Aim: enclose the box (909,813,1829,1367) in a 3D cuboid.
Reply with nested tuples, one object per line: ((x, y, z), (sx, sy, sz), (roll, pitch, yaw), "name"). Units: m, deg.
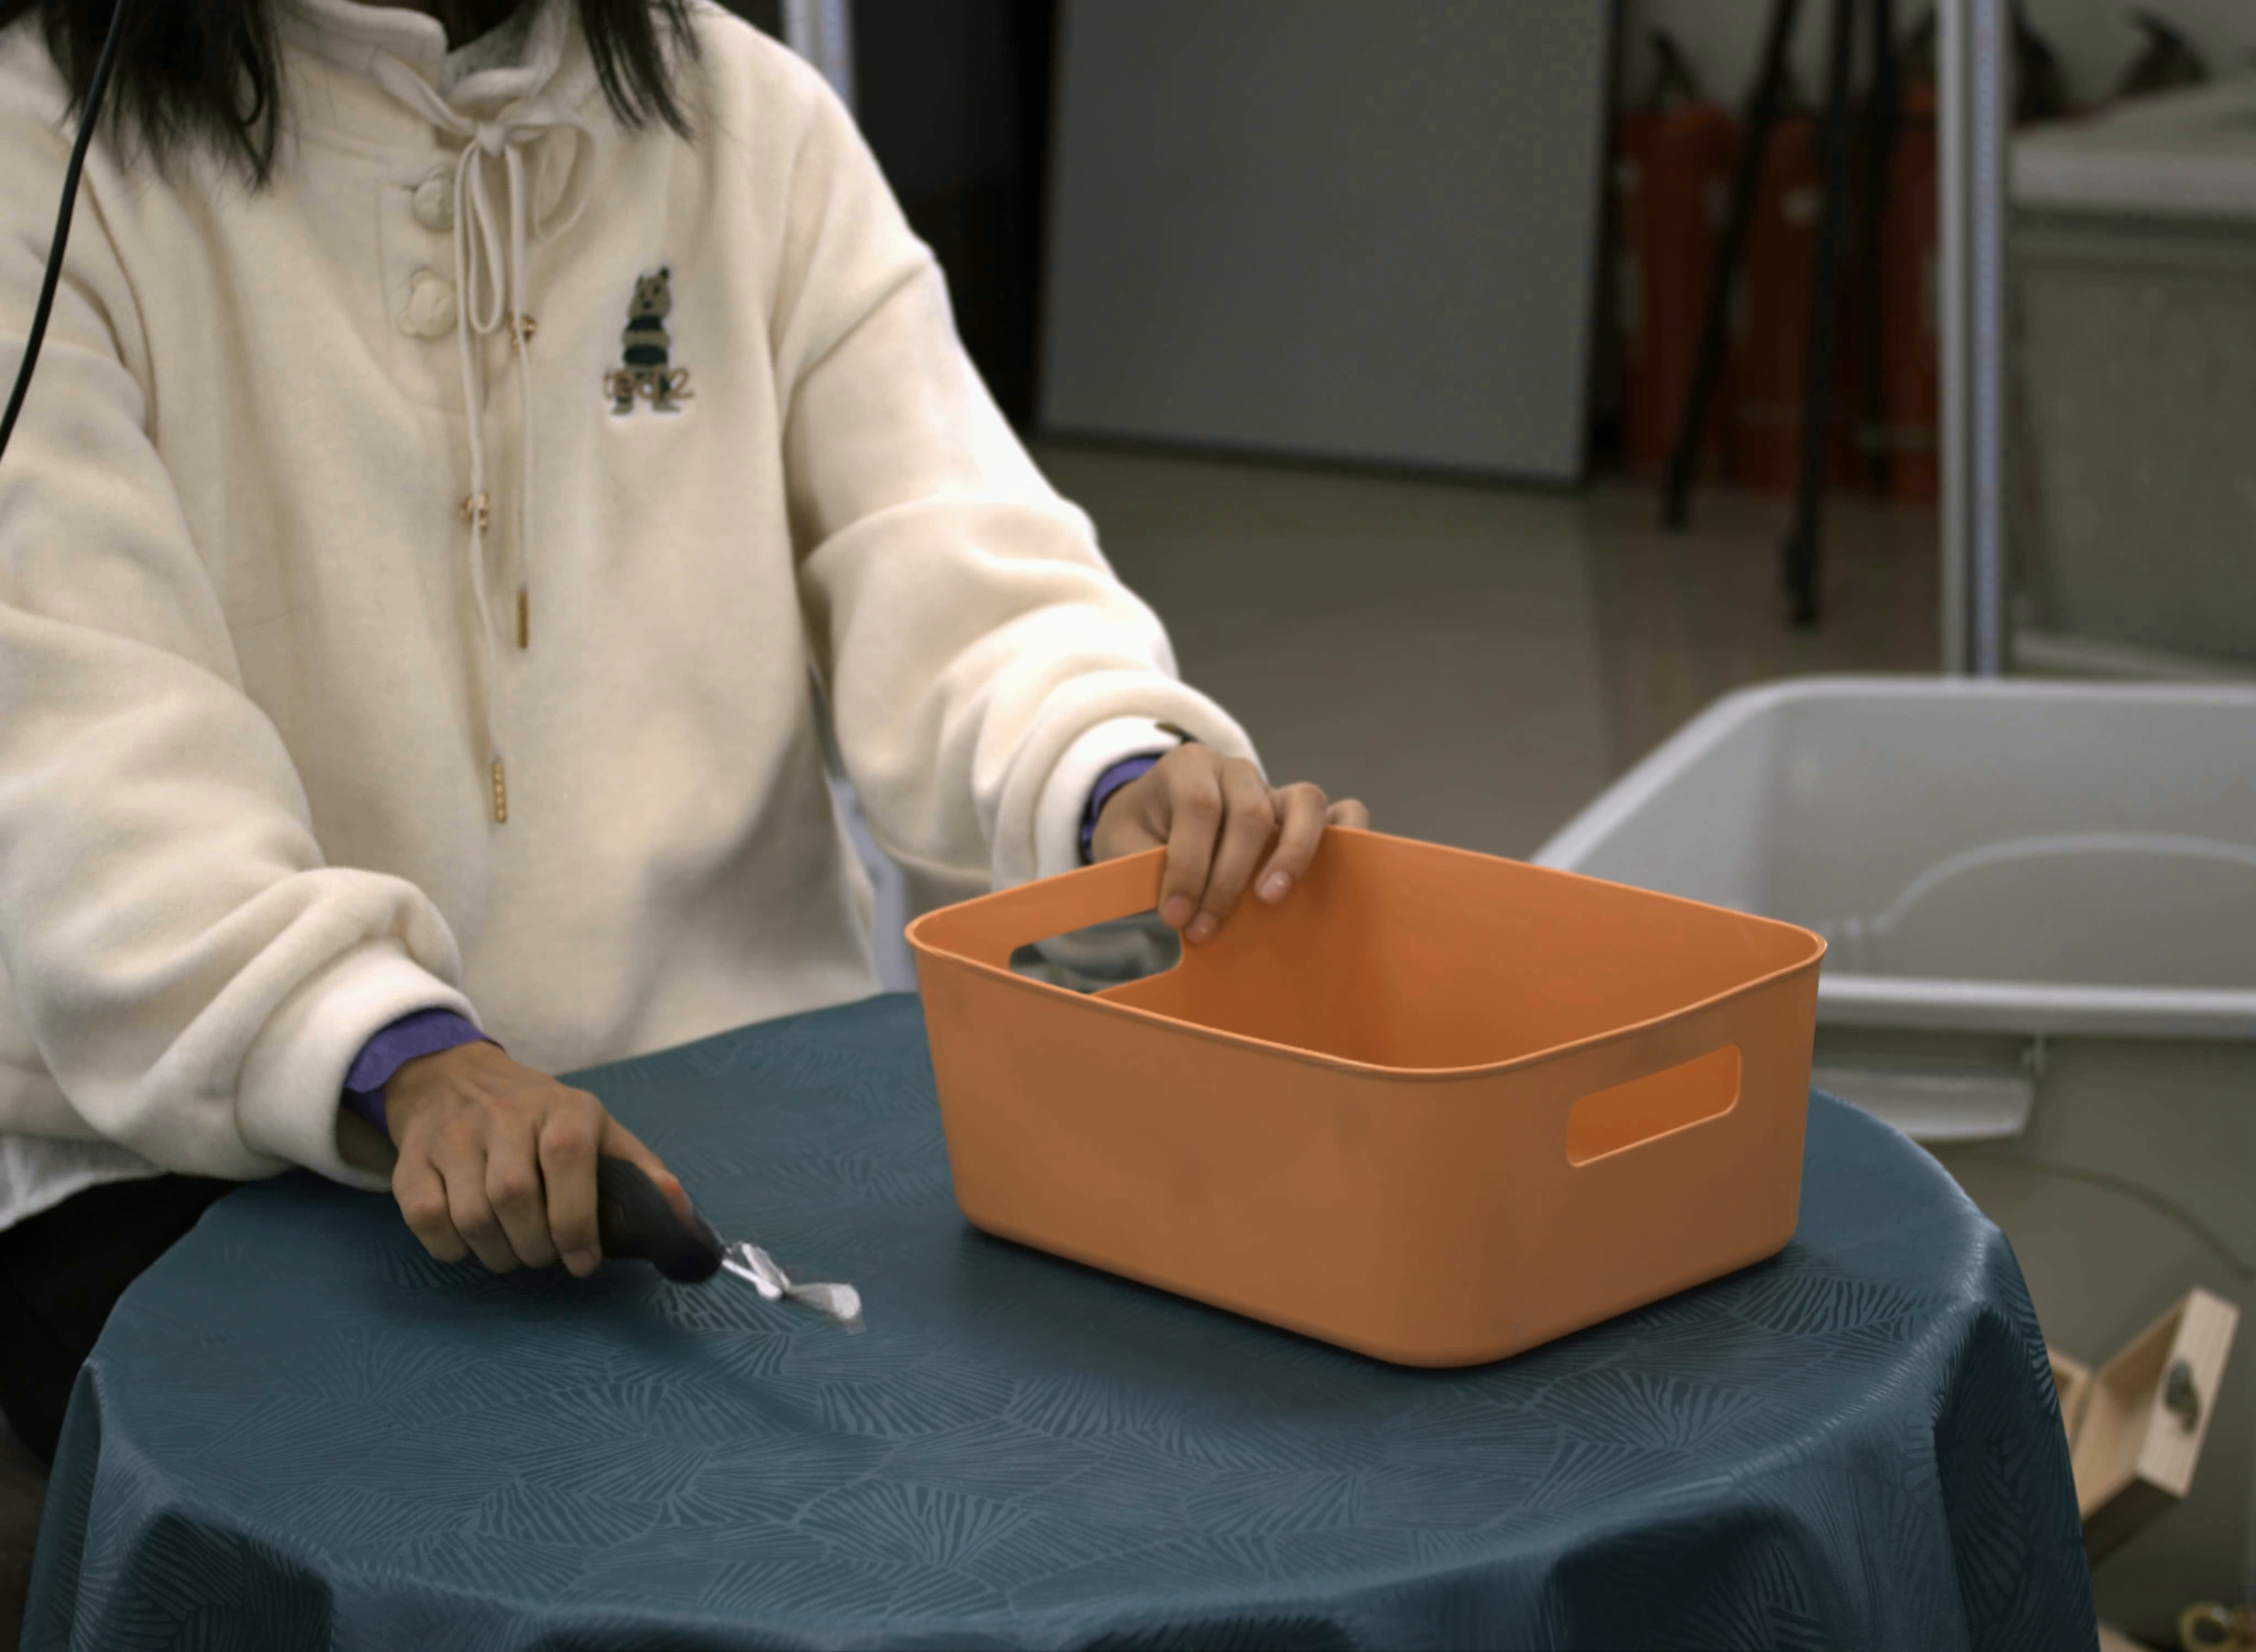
((0.076, 0.079, 1.694), (0.195, 0.103, 0.276), (-16, 19, -38), "box")

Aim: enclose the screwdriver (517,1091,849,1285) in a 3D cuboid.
((-0.133, 0.114, 1.660), (0.031, 0.032, 0.200), (-12, 18, -33), "screwdriver")
